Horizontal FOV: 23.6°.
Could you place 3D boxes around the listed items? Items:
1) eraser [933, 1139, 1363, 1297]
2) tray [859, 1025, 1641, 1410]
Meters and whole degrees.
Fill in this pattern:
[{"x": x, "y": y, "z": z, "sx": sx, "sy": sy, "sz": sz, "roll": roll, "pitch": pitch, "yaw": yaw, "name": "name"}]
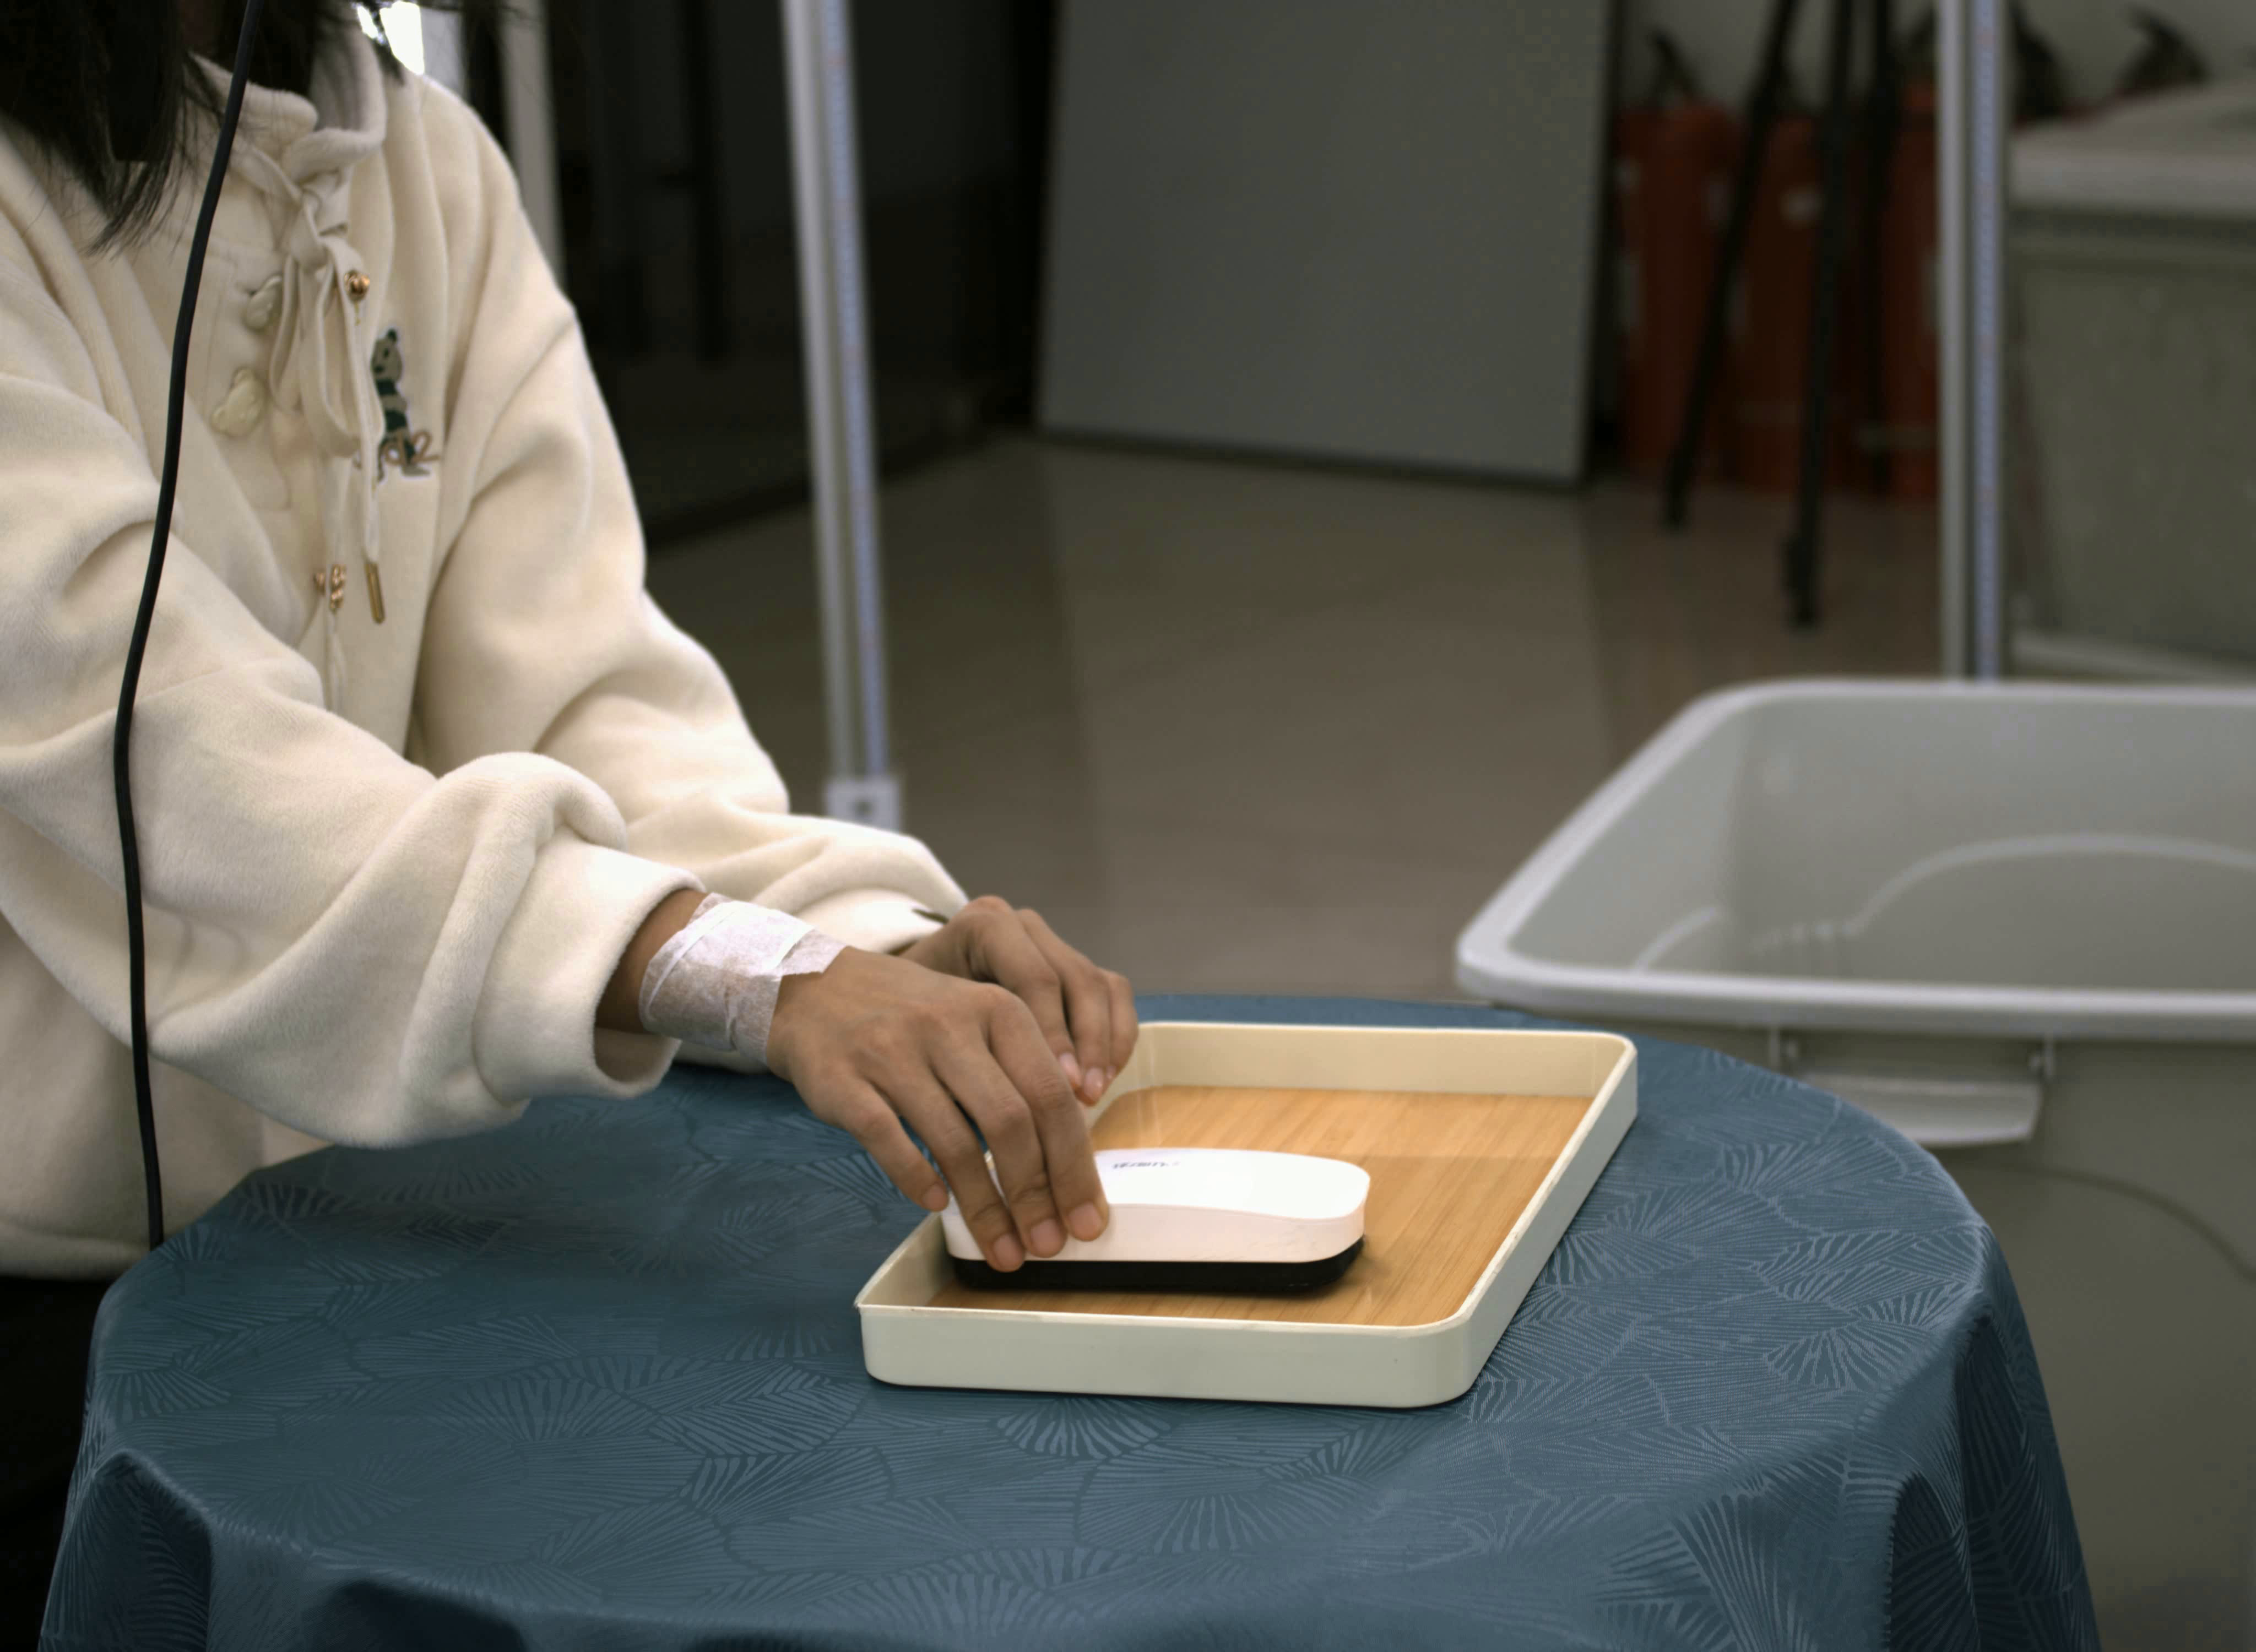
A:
[{"x": 0.007, "y": 0.122, "z": 1.670, "sx": 0.131, "sy": 0.035, "sz": 0.063, "roll": -1, "pitch": 12, "yaw": 19, "name": "eraser"}, {"x": 0.046, "y": 0.119, "z": 1.707, "sx": 0.191, "sy": 0.028, "sz": 0.298, "roll": 1, "pitch": 15, "yaw": 17, "name": "tray"}]
